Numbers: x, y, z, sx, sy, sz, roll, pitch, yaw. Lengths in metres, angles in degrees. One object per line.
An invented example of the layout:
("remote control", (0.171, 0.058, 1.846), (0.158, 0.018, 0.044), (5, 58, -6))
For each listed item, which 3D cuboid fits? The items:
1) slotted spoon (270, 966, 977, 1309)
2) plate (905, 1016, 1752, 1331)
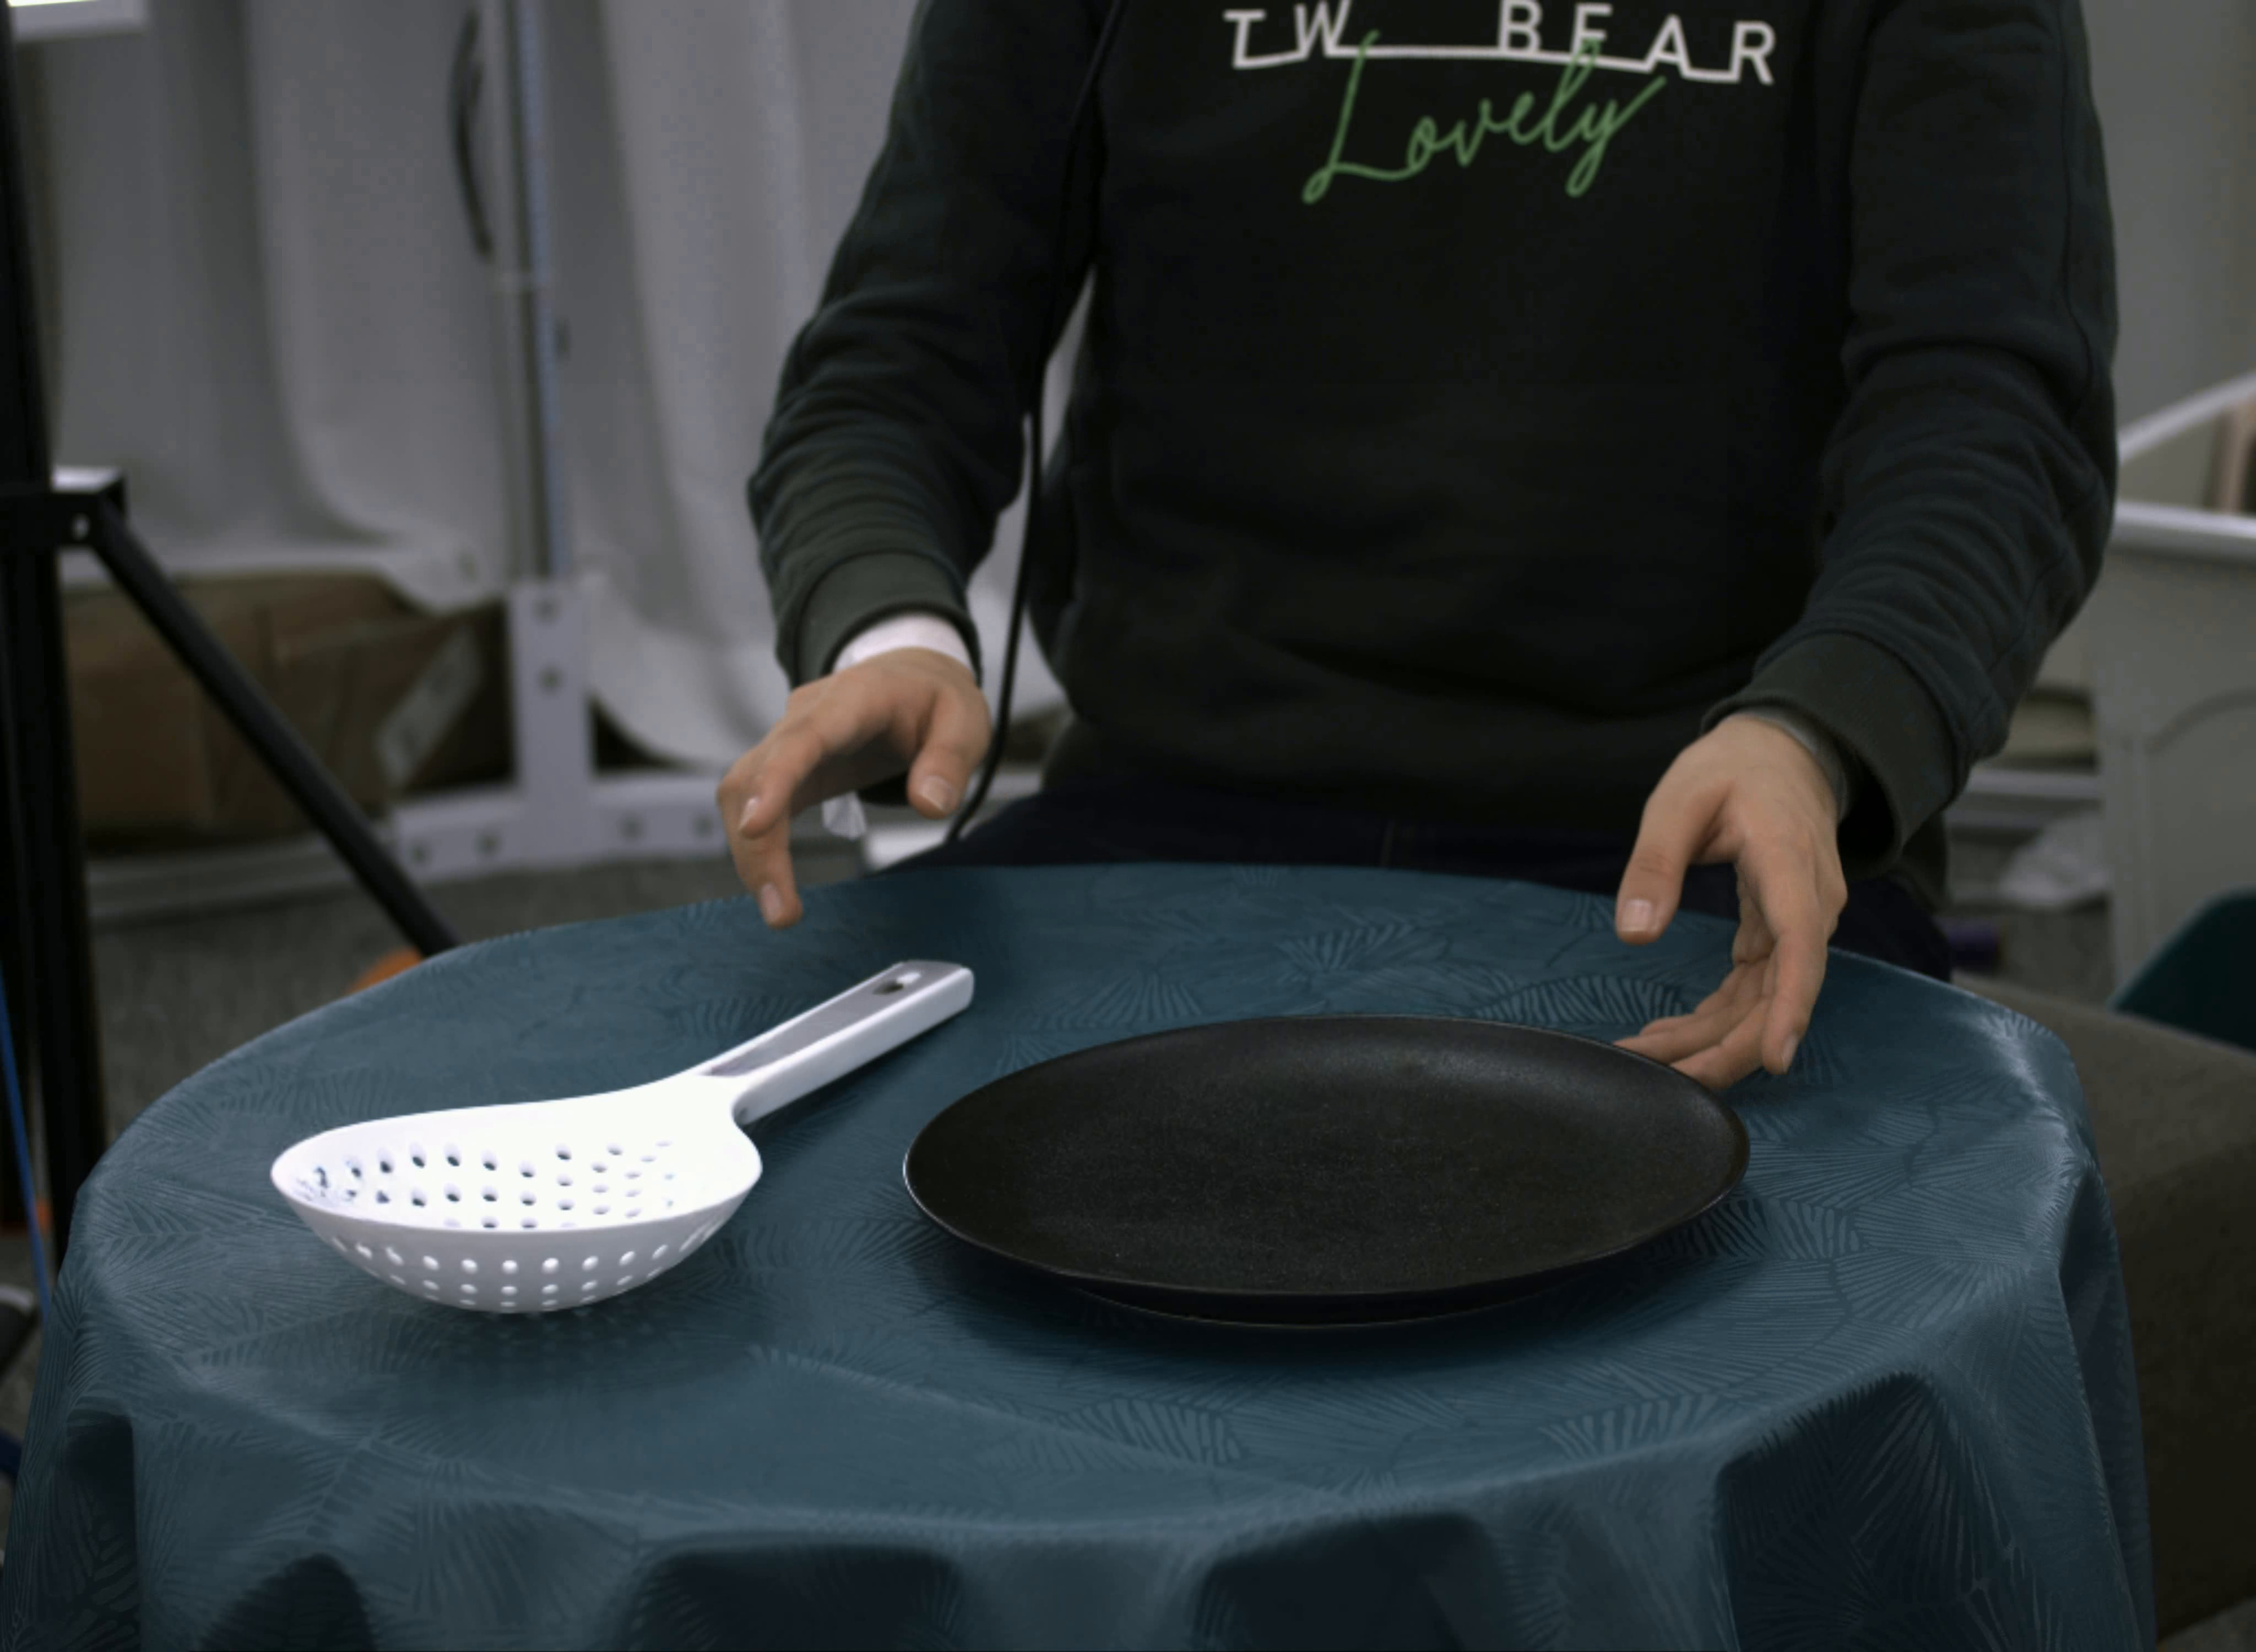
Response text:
("slotted spoon", (-0.129, 0.083, 1.585), (0.138, 0.046, 0.345), (6, 17, 23))
("plate", (0.058, 0.102, 1.526), (0.243, 0.023, 0.245), (-3, 16, -1))
